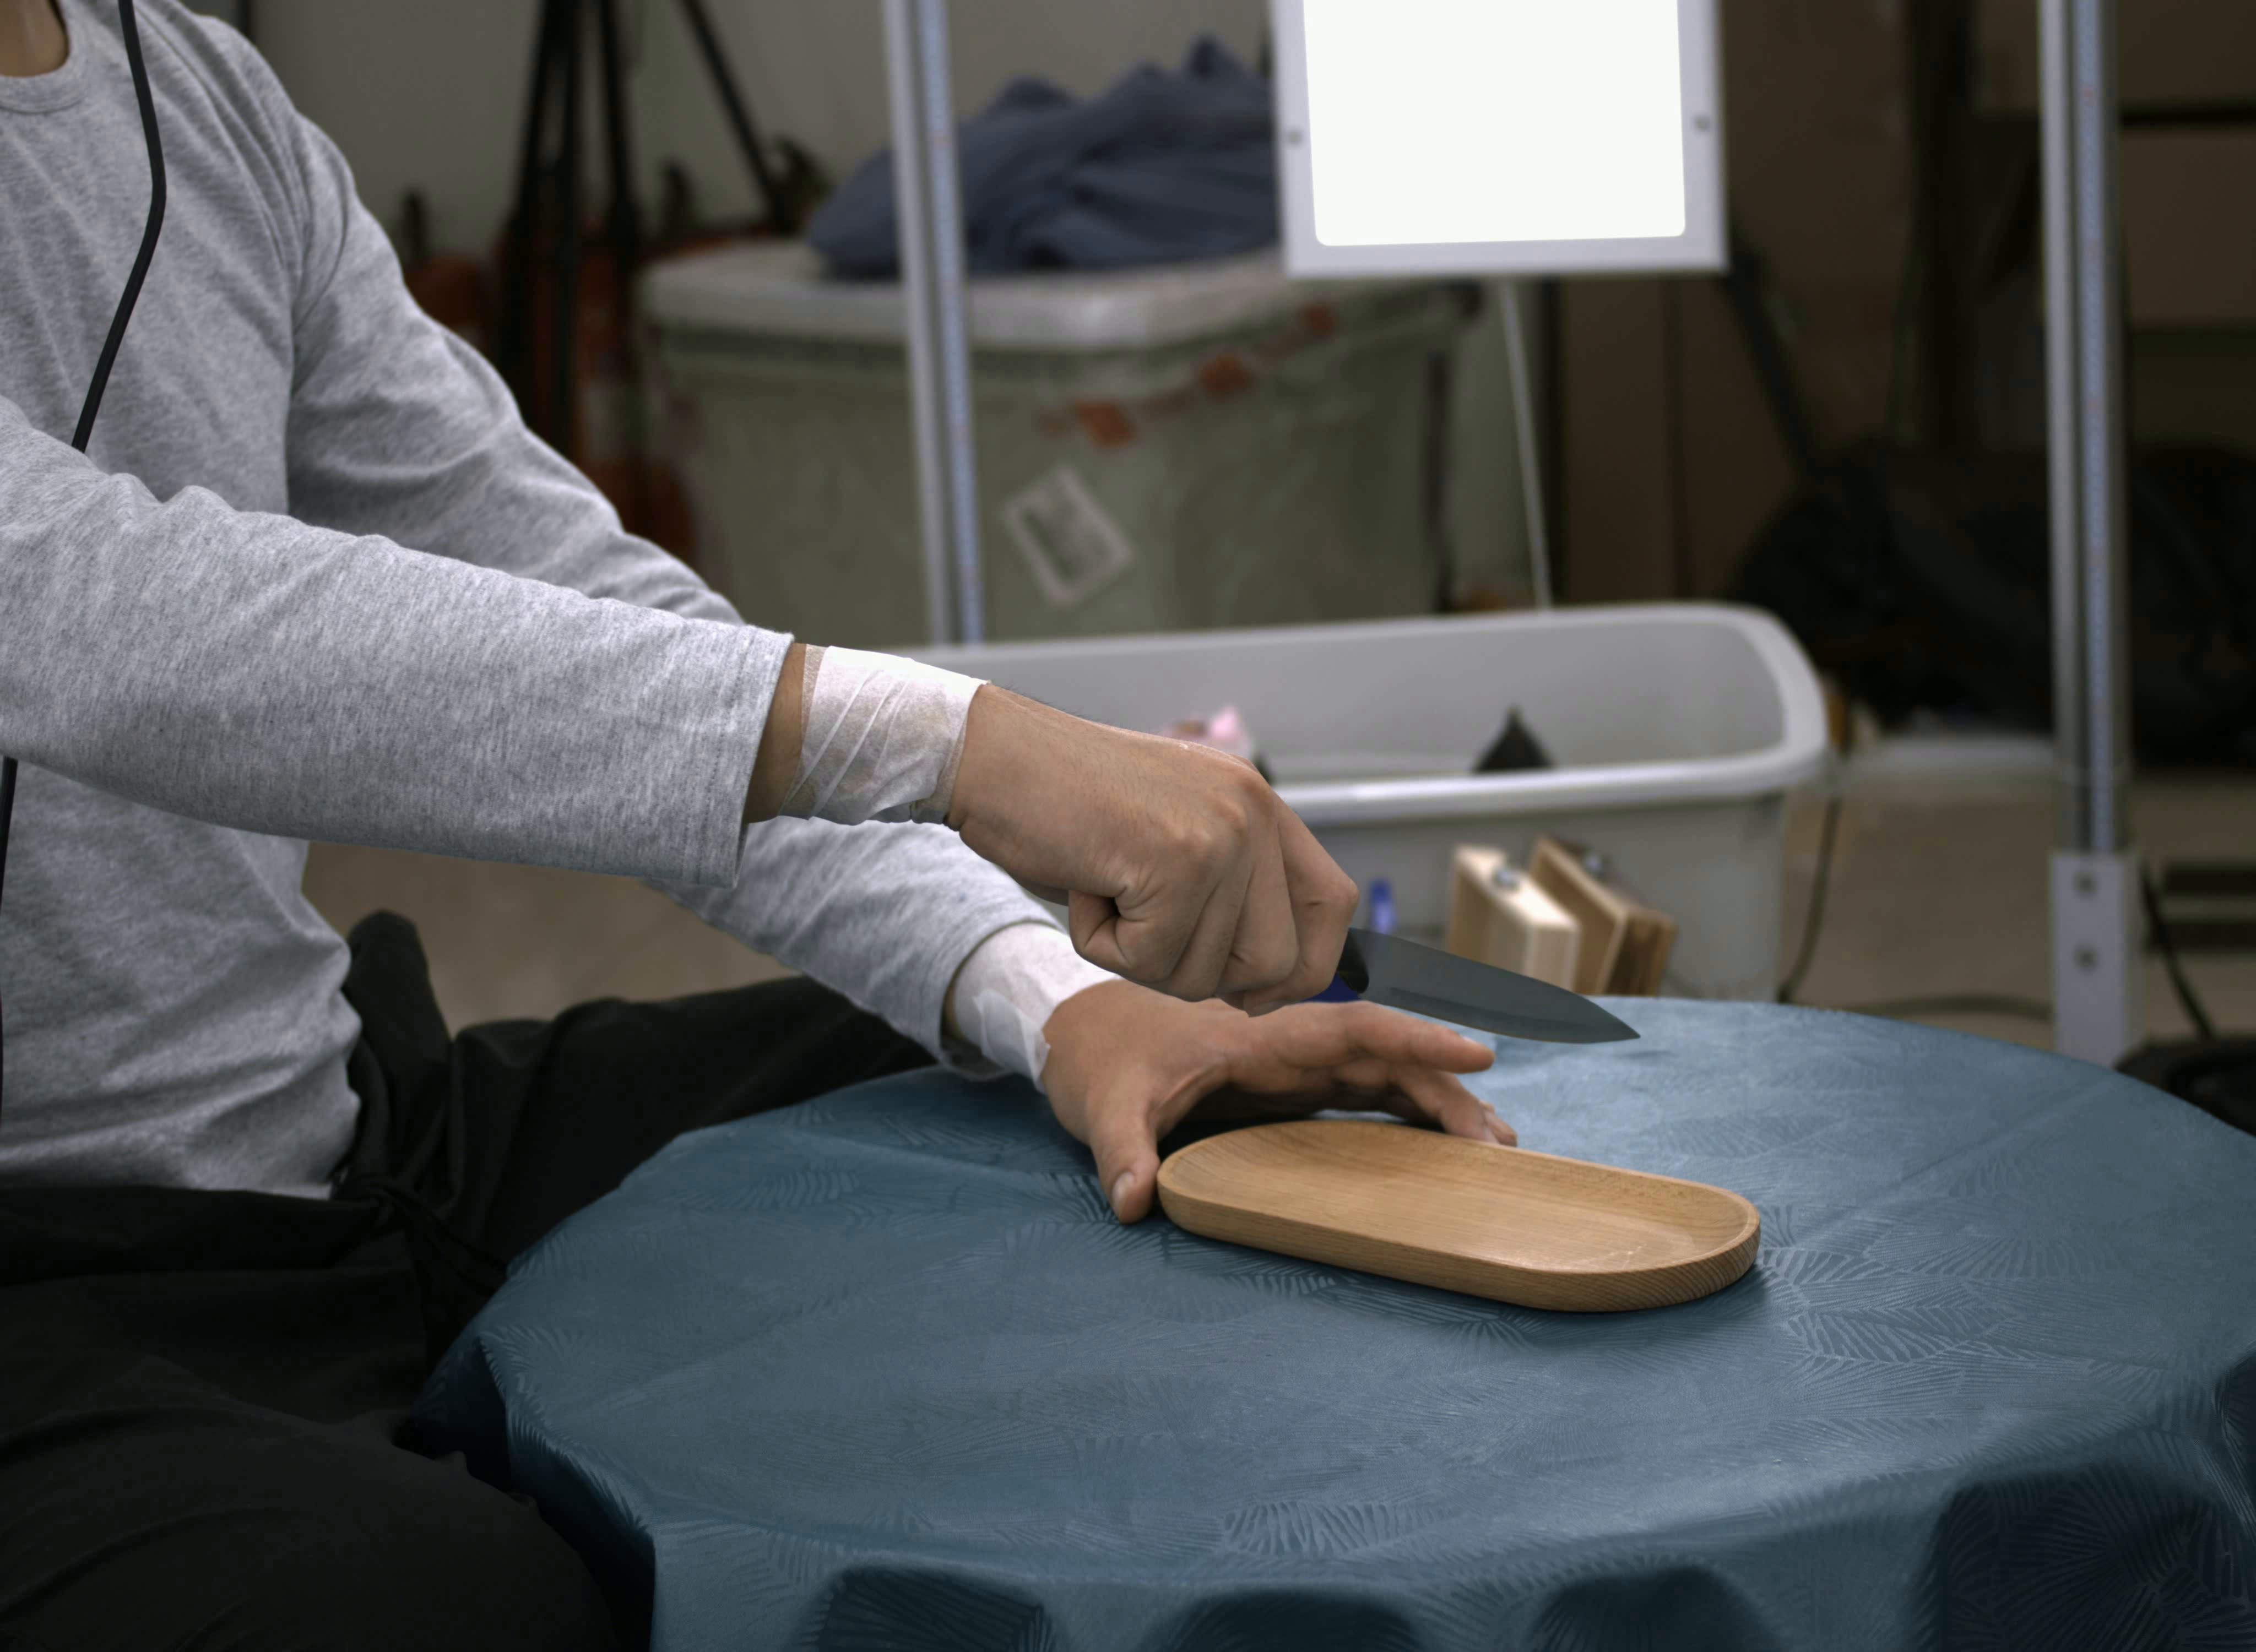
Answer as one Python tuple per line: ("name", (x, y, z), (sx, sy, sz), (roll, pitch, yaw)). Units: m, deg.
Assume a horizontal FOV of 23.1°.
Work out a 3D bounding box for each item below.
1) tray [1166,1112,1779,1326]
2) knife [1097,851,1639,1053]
("tray", (0.112, 0.129, 1.822), (0.236, 0.020, 0.099), (11, 25, 42))
("knife", (0.082, 0.042, 1.739), (0.233, 0.024, 0.016), (18, -5, -38))
